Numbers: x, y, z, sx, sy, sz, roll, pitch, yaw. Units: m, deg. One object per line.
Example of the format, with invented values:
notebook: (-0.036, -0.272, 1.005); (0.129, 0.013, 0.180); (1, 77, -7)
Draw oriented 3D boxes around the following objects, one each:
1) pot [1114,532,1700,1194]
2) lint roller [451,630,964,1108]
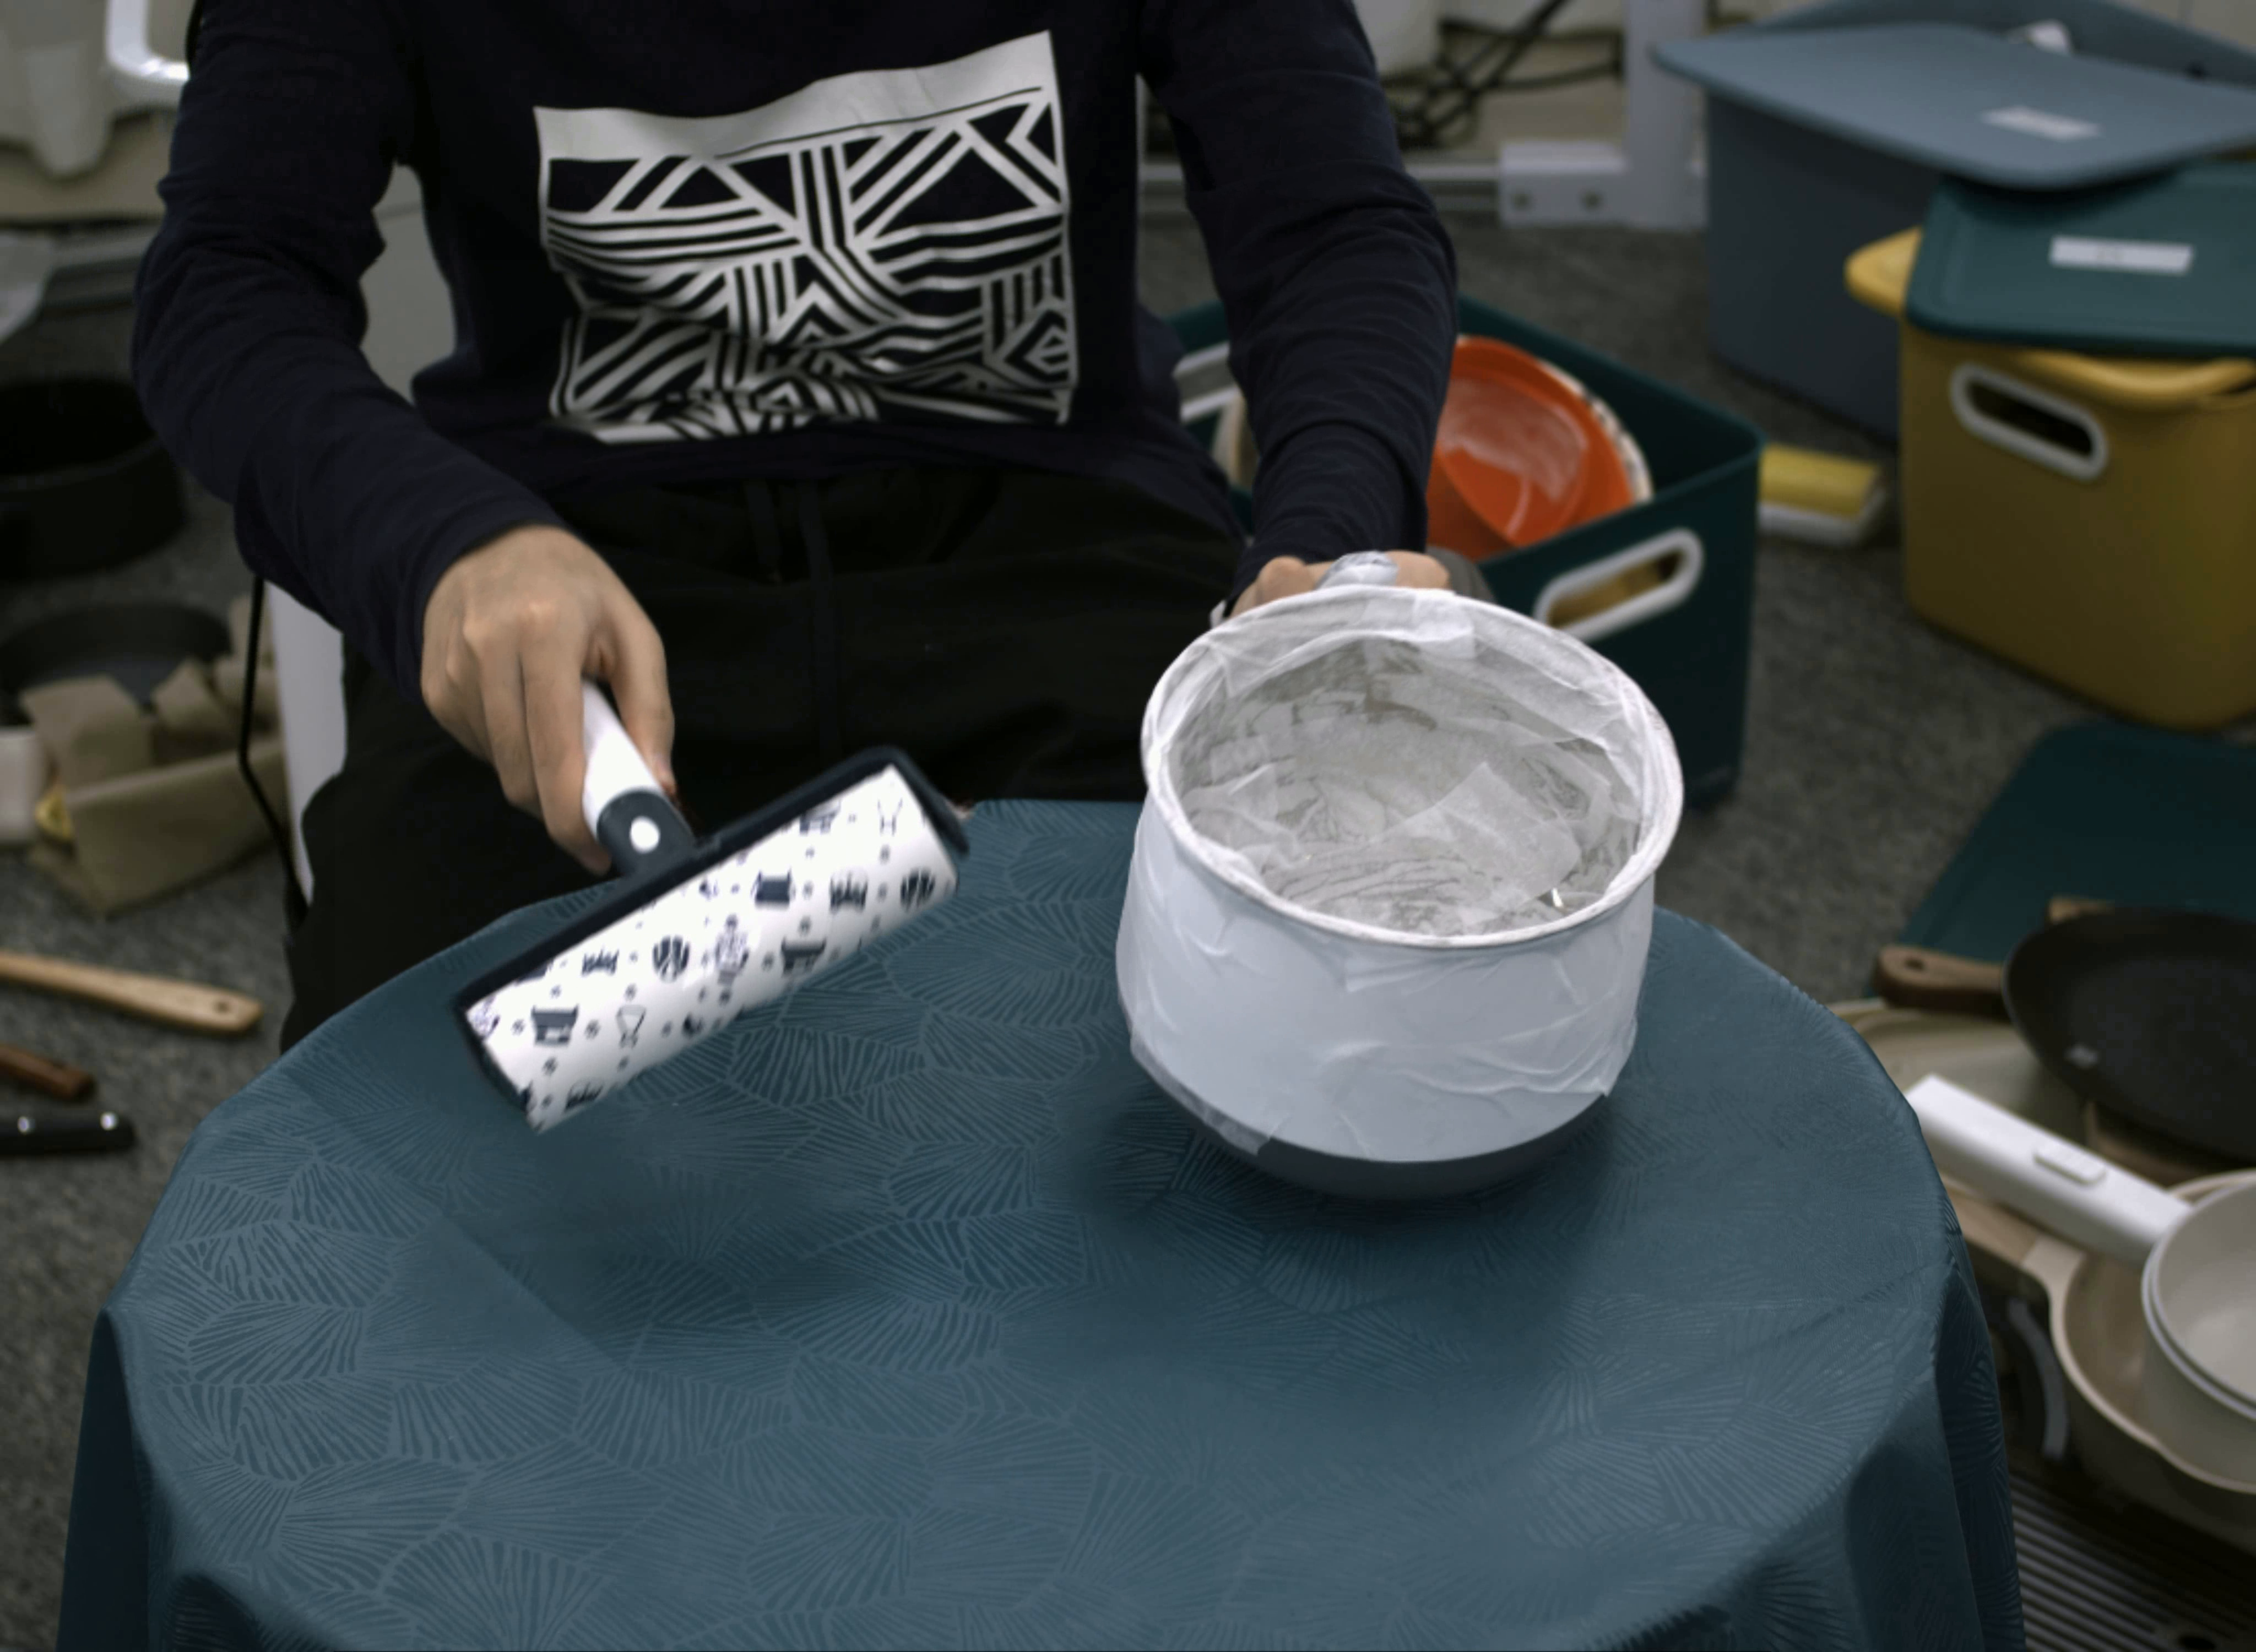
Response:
pot: (0.084, 0.002, 1.871); (0.178, 0.134, 0.238); (3, 43, -11)
lint roller: (-0.173, -0.013, 1.913); (0.177, 0.050, 0.249); (-32, 35, -8)
